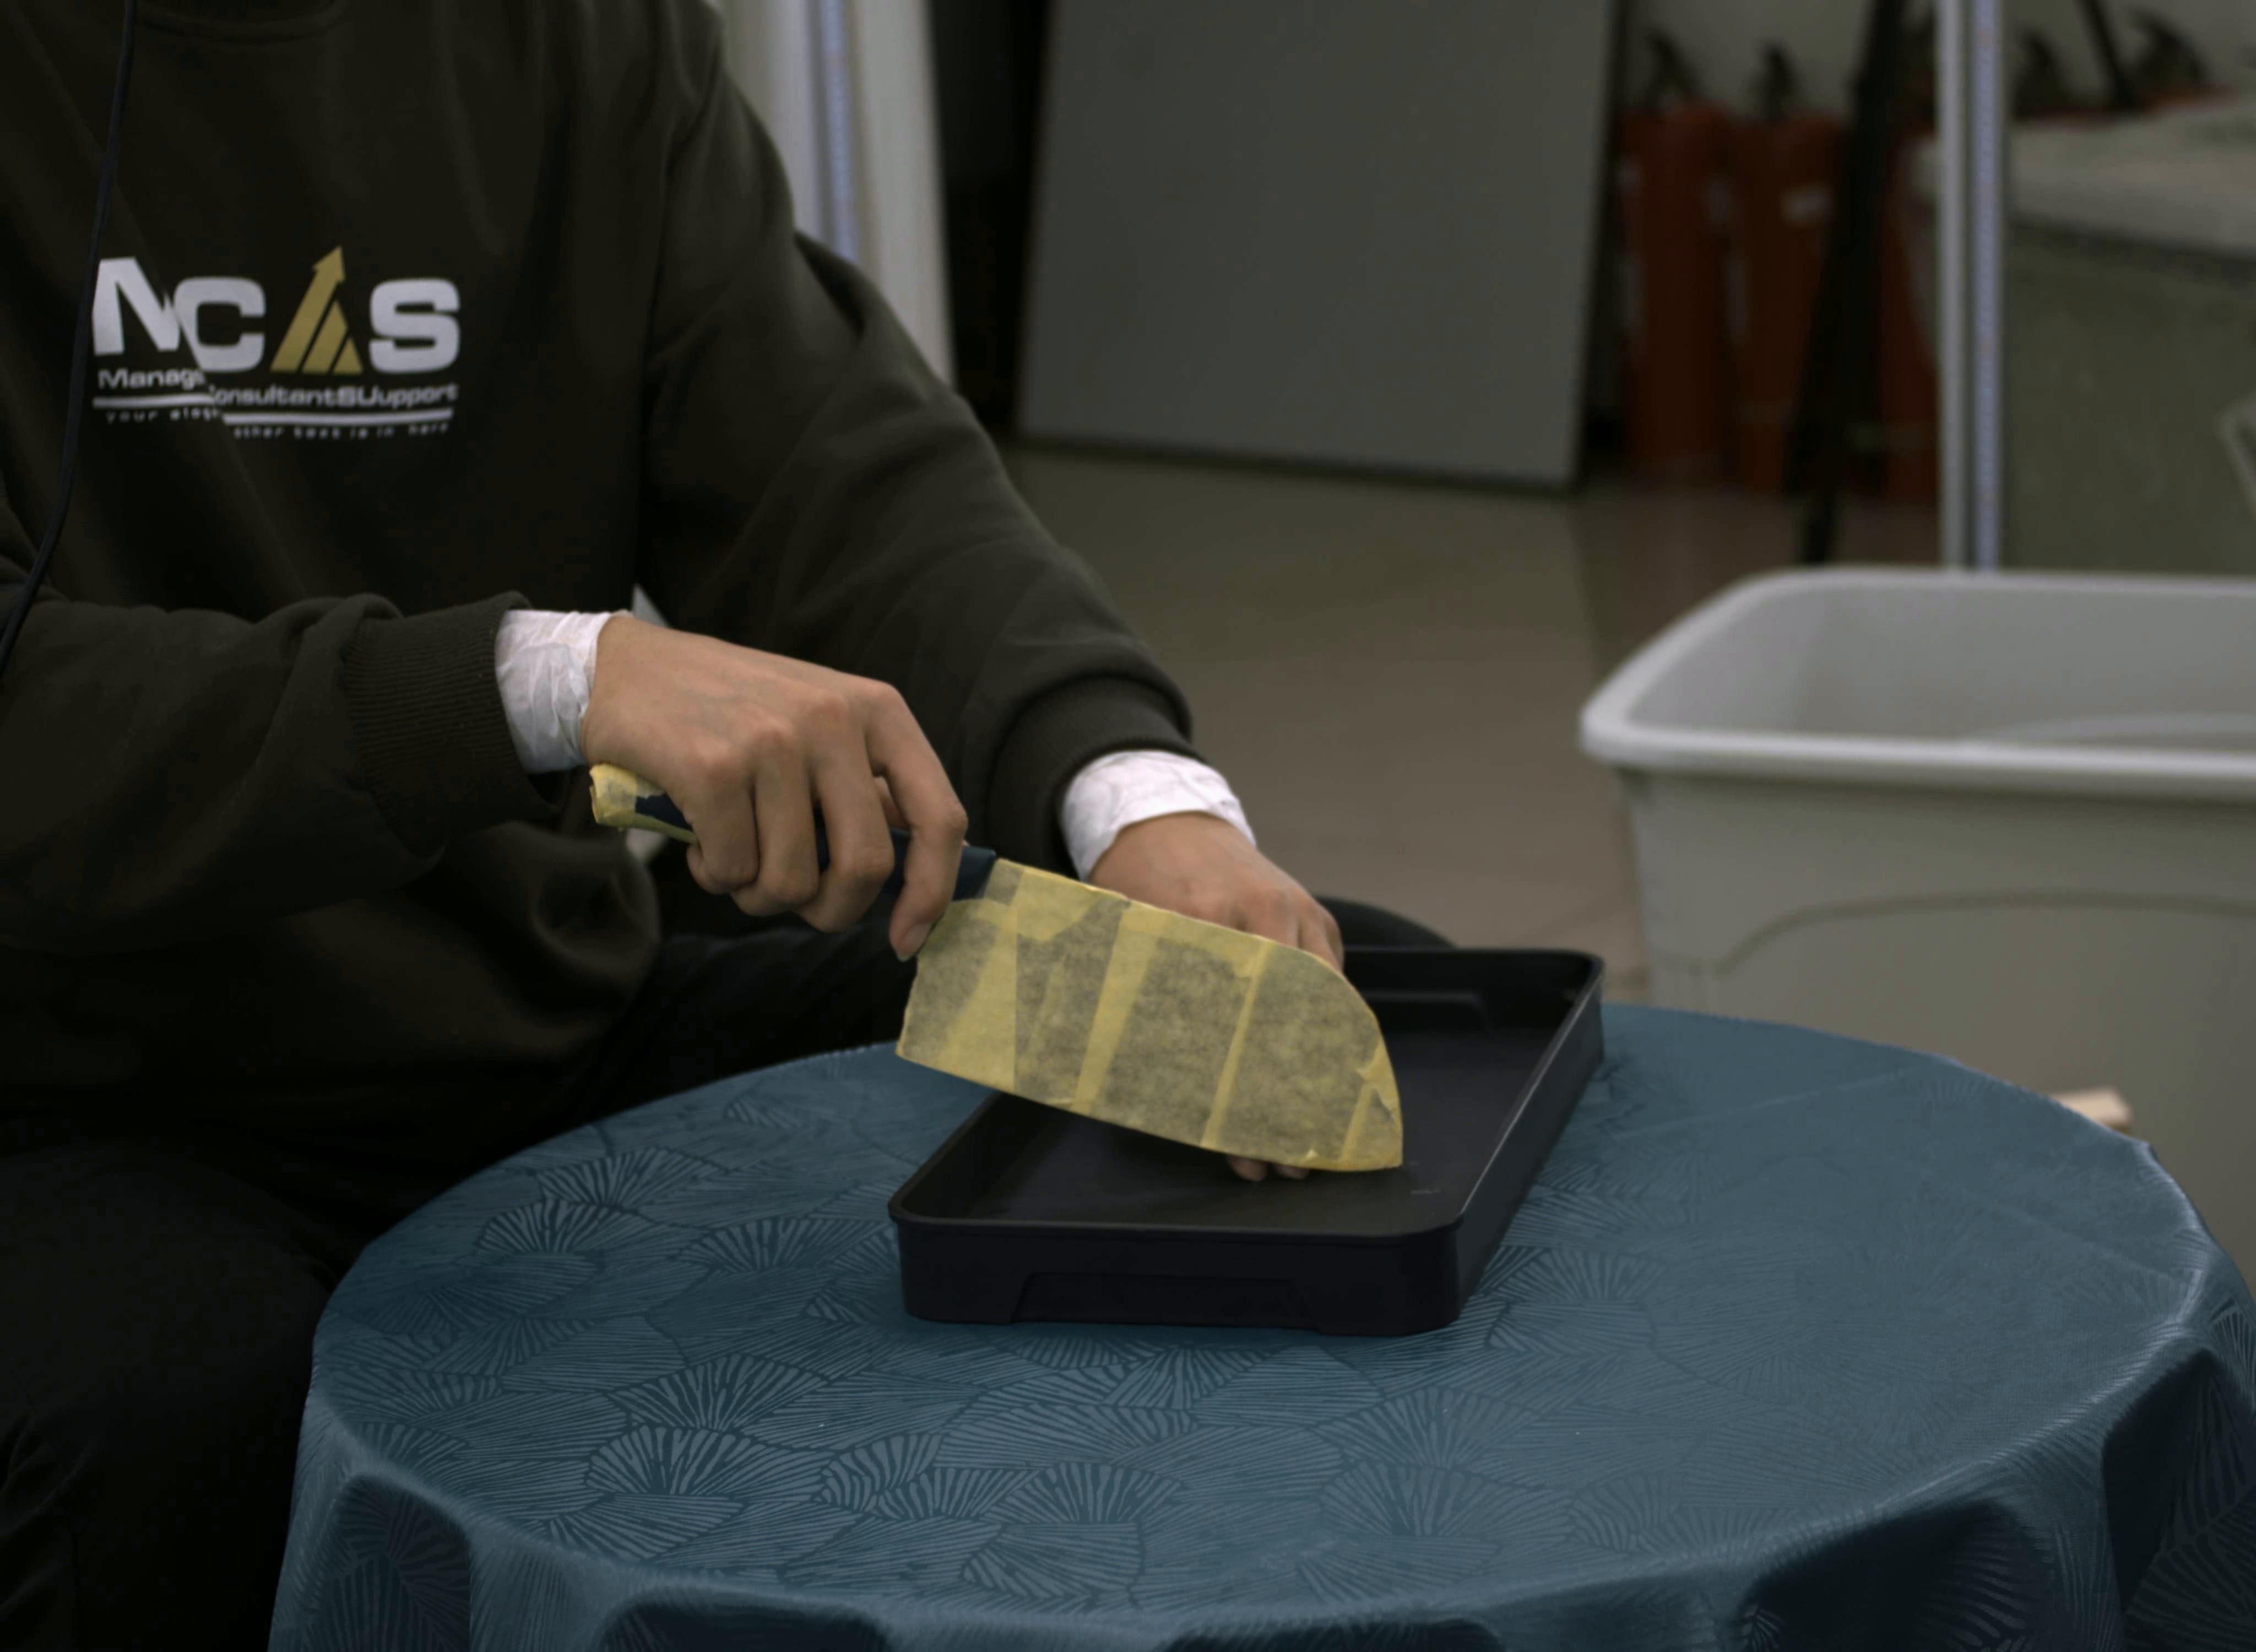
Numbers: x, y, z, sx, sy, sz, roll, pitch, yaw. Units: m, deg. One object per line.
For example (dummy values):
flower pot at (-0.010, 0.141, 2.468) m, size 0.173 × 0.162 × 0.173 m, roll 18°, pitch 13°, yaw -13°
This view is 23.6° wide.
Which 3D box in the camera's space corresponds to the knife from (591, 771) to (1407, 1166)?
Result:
knife at (-0.043, 0.046, 1.755) m, size 0.286 × 0.082 × 0.027 m, roll 20°, pitch -5°, yaw -2°

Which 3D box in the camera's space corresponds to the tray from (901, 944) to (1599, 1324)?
tray at (0.049, 0.097, 1.781) m, size 0.183 × 0.037 × 0.316 m, roll -1°, pitch 14°, yaw 14°
